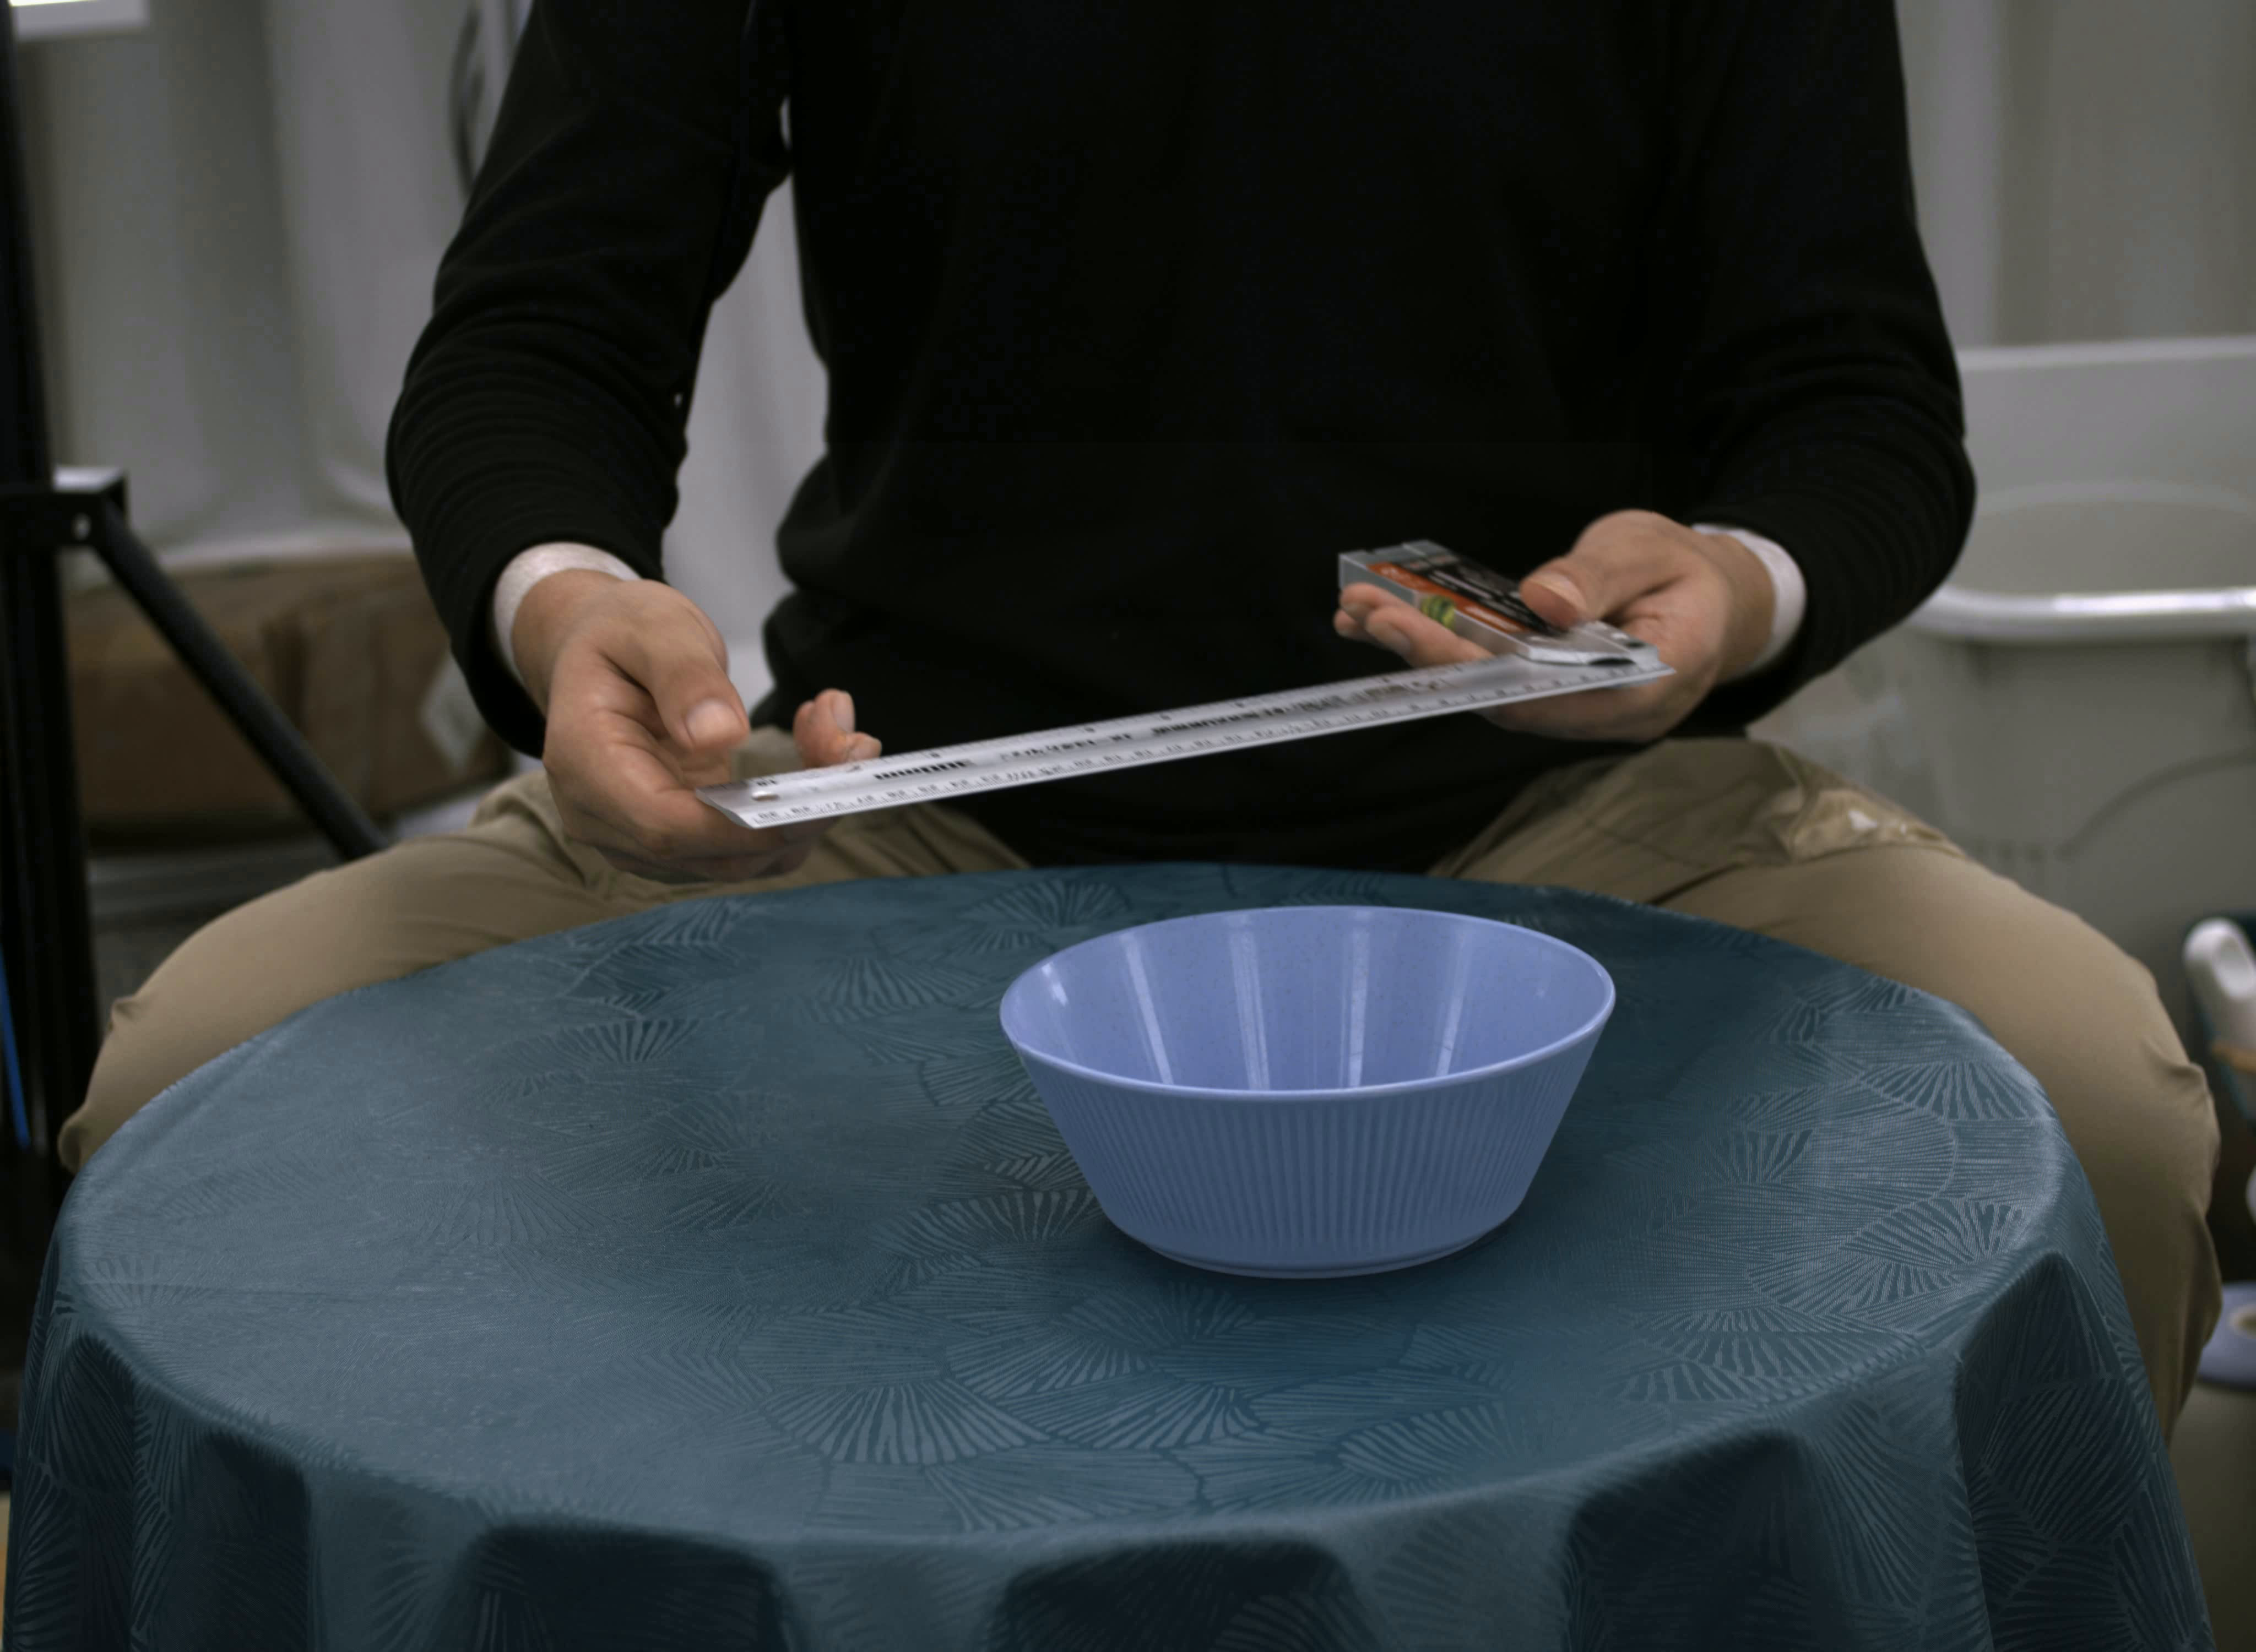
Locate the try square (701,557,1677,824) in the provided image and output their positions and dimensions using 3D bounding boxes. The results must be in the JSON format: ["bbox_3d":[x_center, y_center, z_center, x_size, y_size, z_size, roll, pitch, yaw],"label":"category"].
[{"bbox_3d":[-0.001,-0.042,1.624,0.306,0.016,0.155,-10,18,-24],"label":"try square"}]

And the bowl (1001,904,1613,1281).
[{"bbox_3d":[0.052,0.079,1.522,0.175,0.070,0.177,-3,16,0],"label":"bowl"}]
